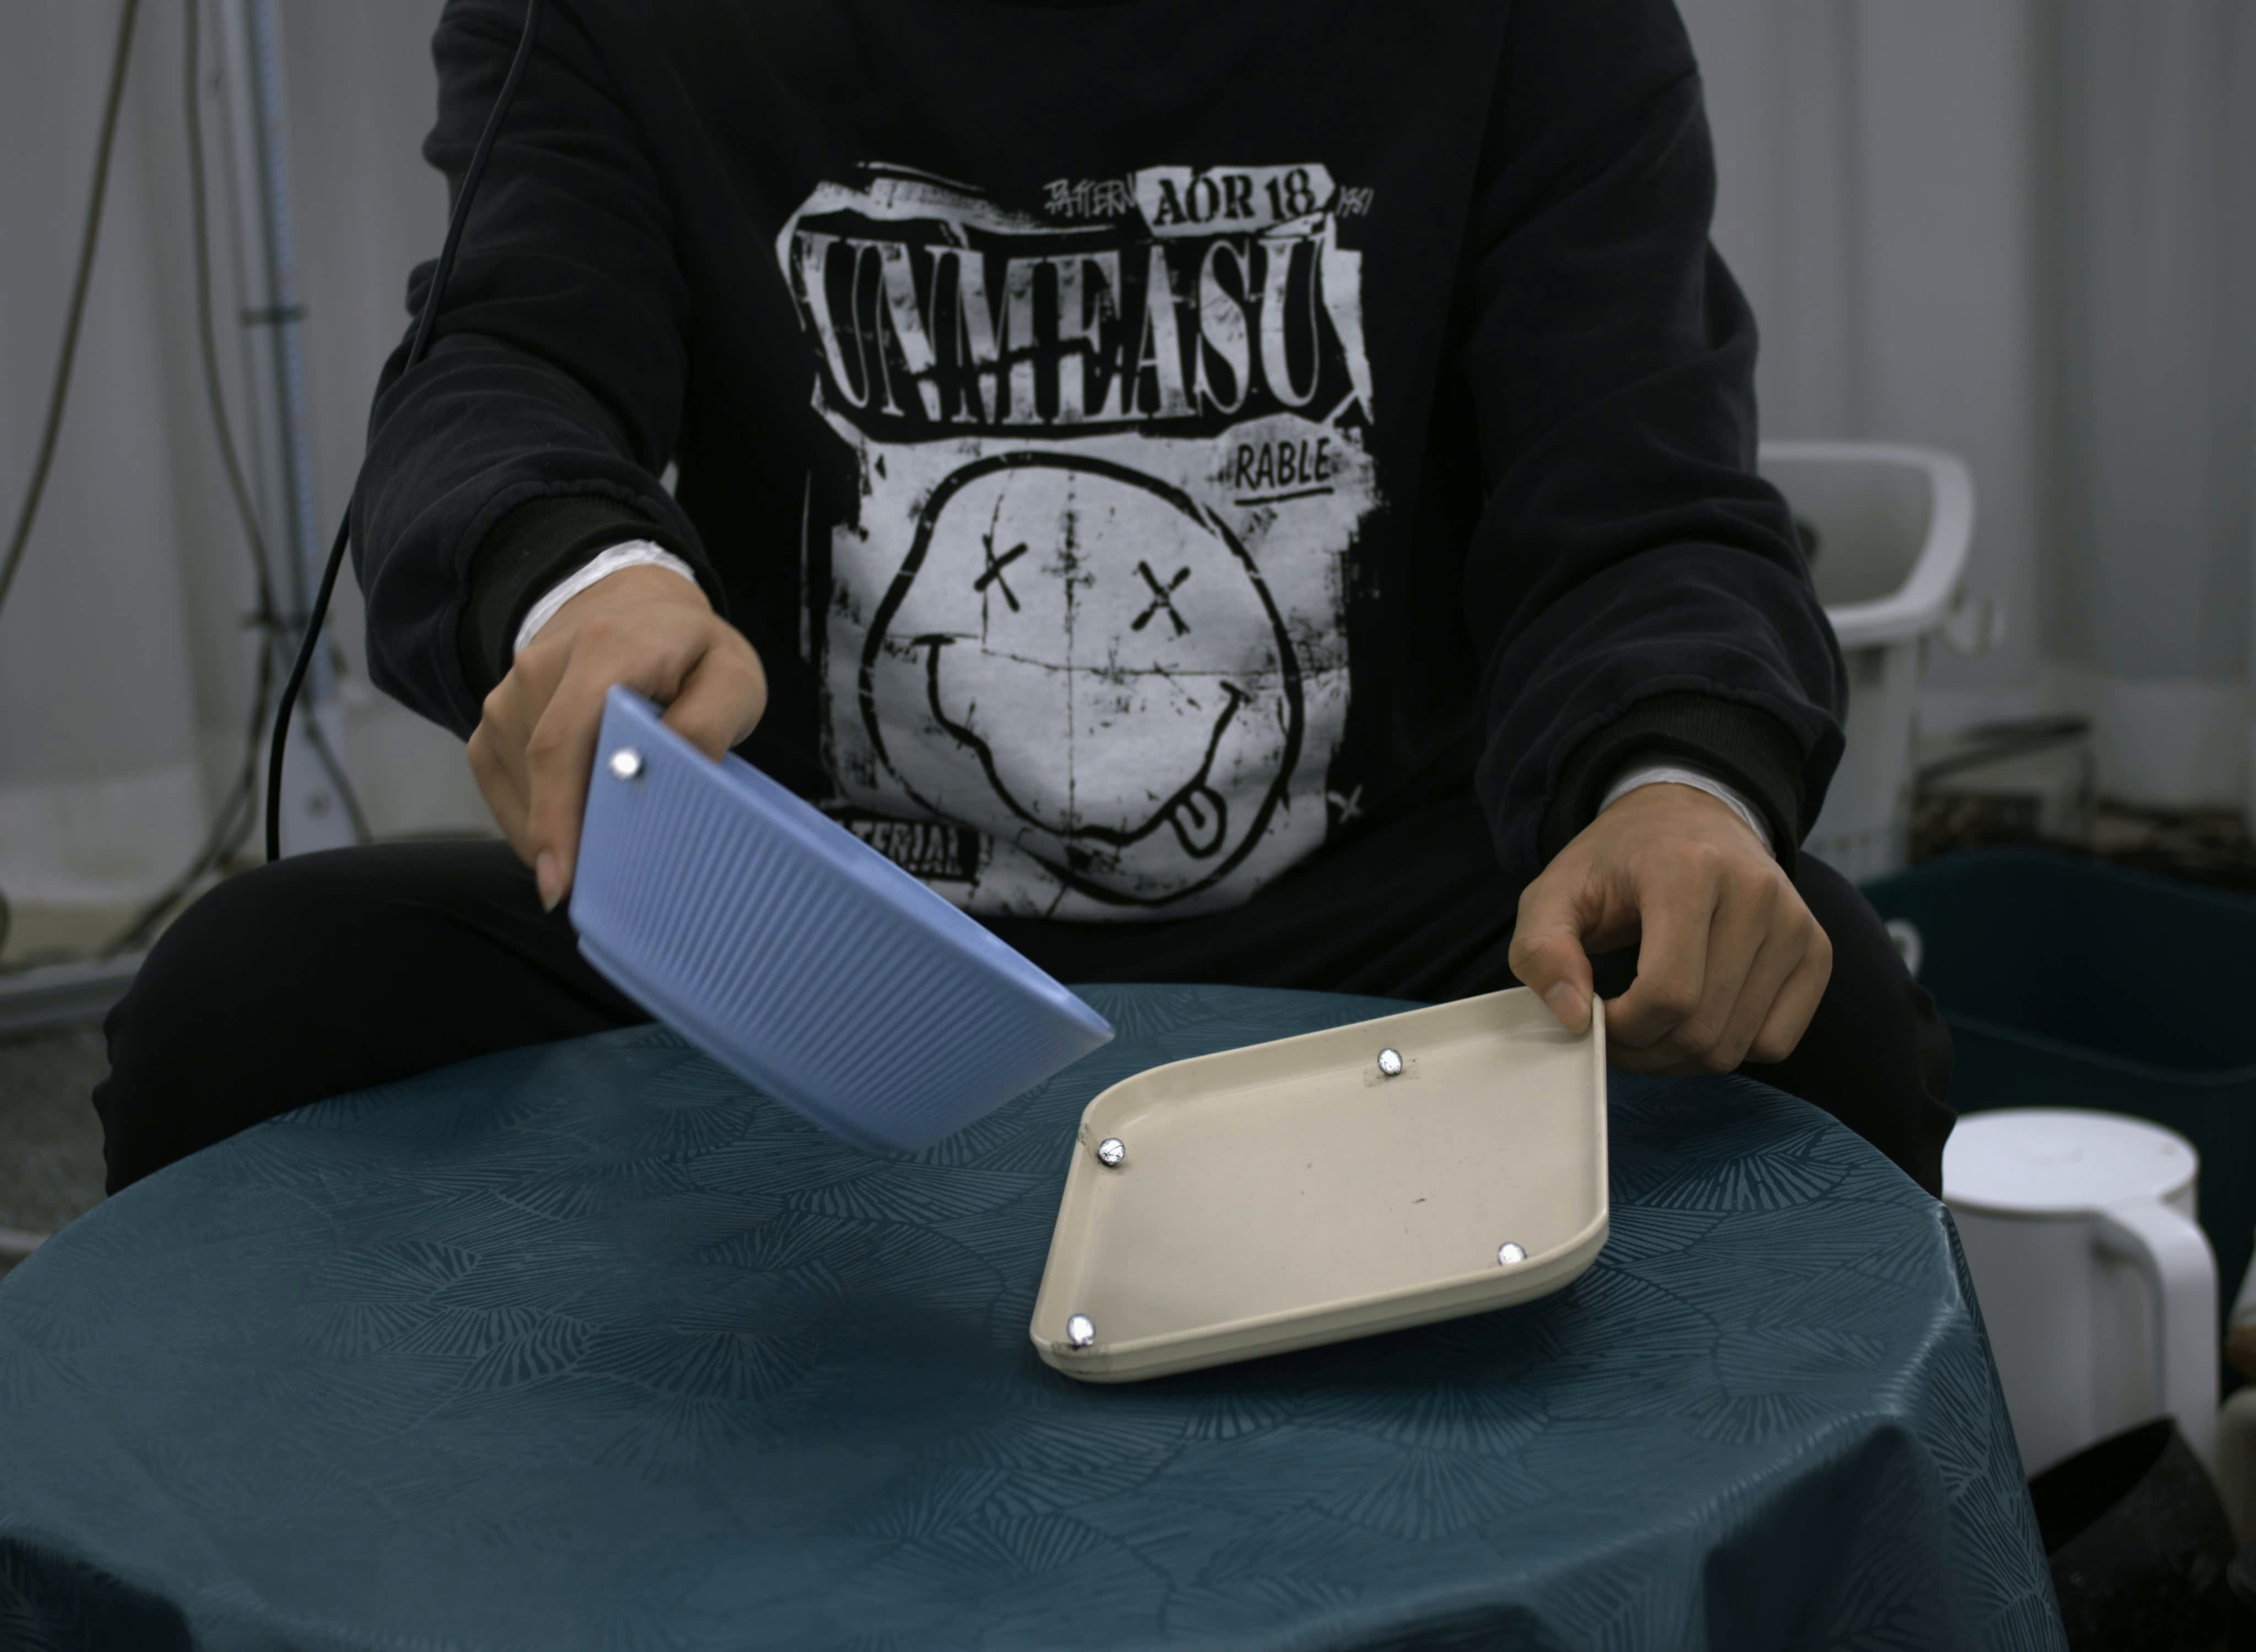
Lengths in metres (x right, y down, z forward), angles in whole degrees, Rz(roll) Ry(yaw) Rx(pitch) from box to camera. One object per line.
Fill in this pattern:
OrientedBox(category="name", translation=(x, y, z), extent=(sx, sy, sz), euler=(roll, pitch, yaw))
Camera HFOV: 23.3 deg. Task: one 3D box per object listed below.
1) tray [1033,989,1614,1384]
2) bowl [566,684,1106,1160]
OrientedBox(category="tray", translation=(0.062, 0.107, 1.638), extent=(0.171, 0.017, 0.241), euler=(-11, 16, 8))
OrientedBox(category="bowl", translation=(-0.095, 0.036, 1.566), extent=(0.176, 0.070, 0.176), euler=(35, 2, -1))
